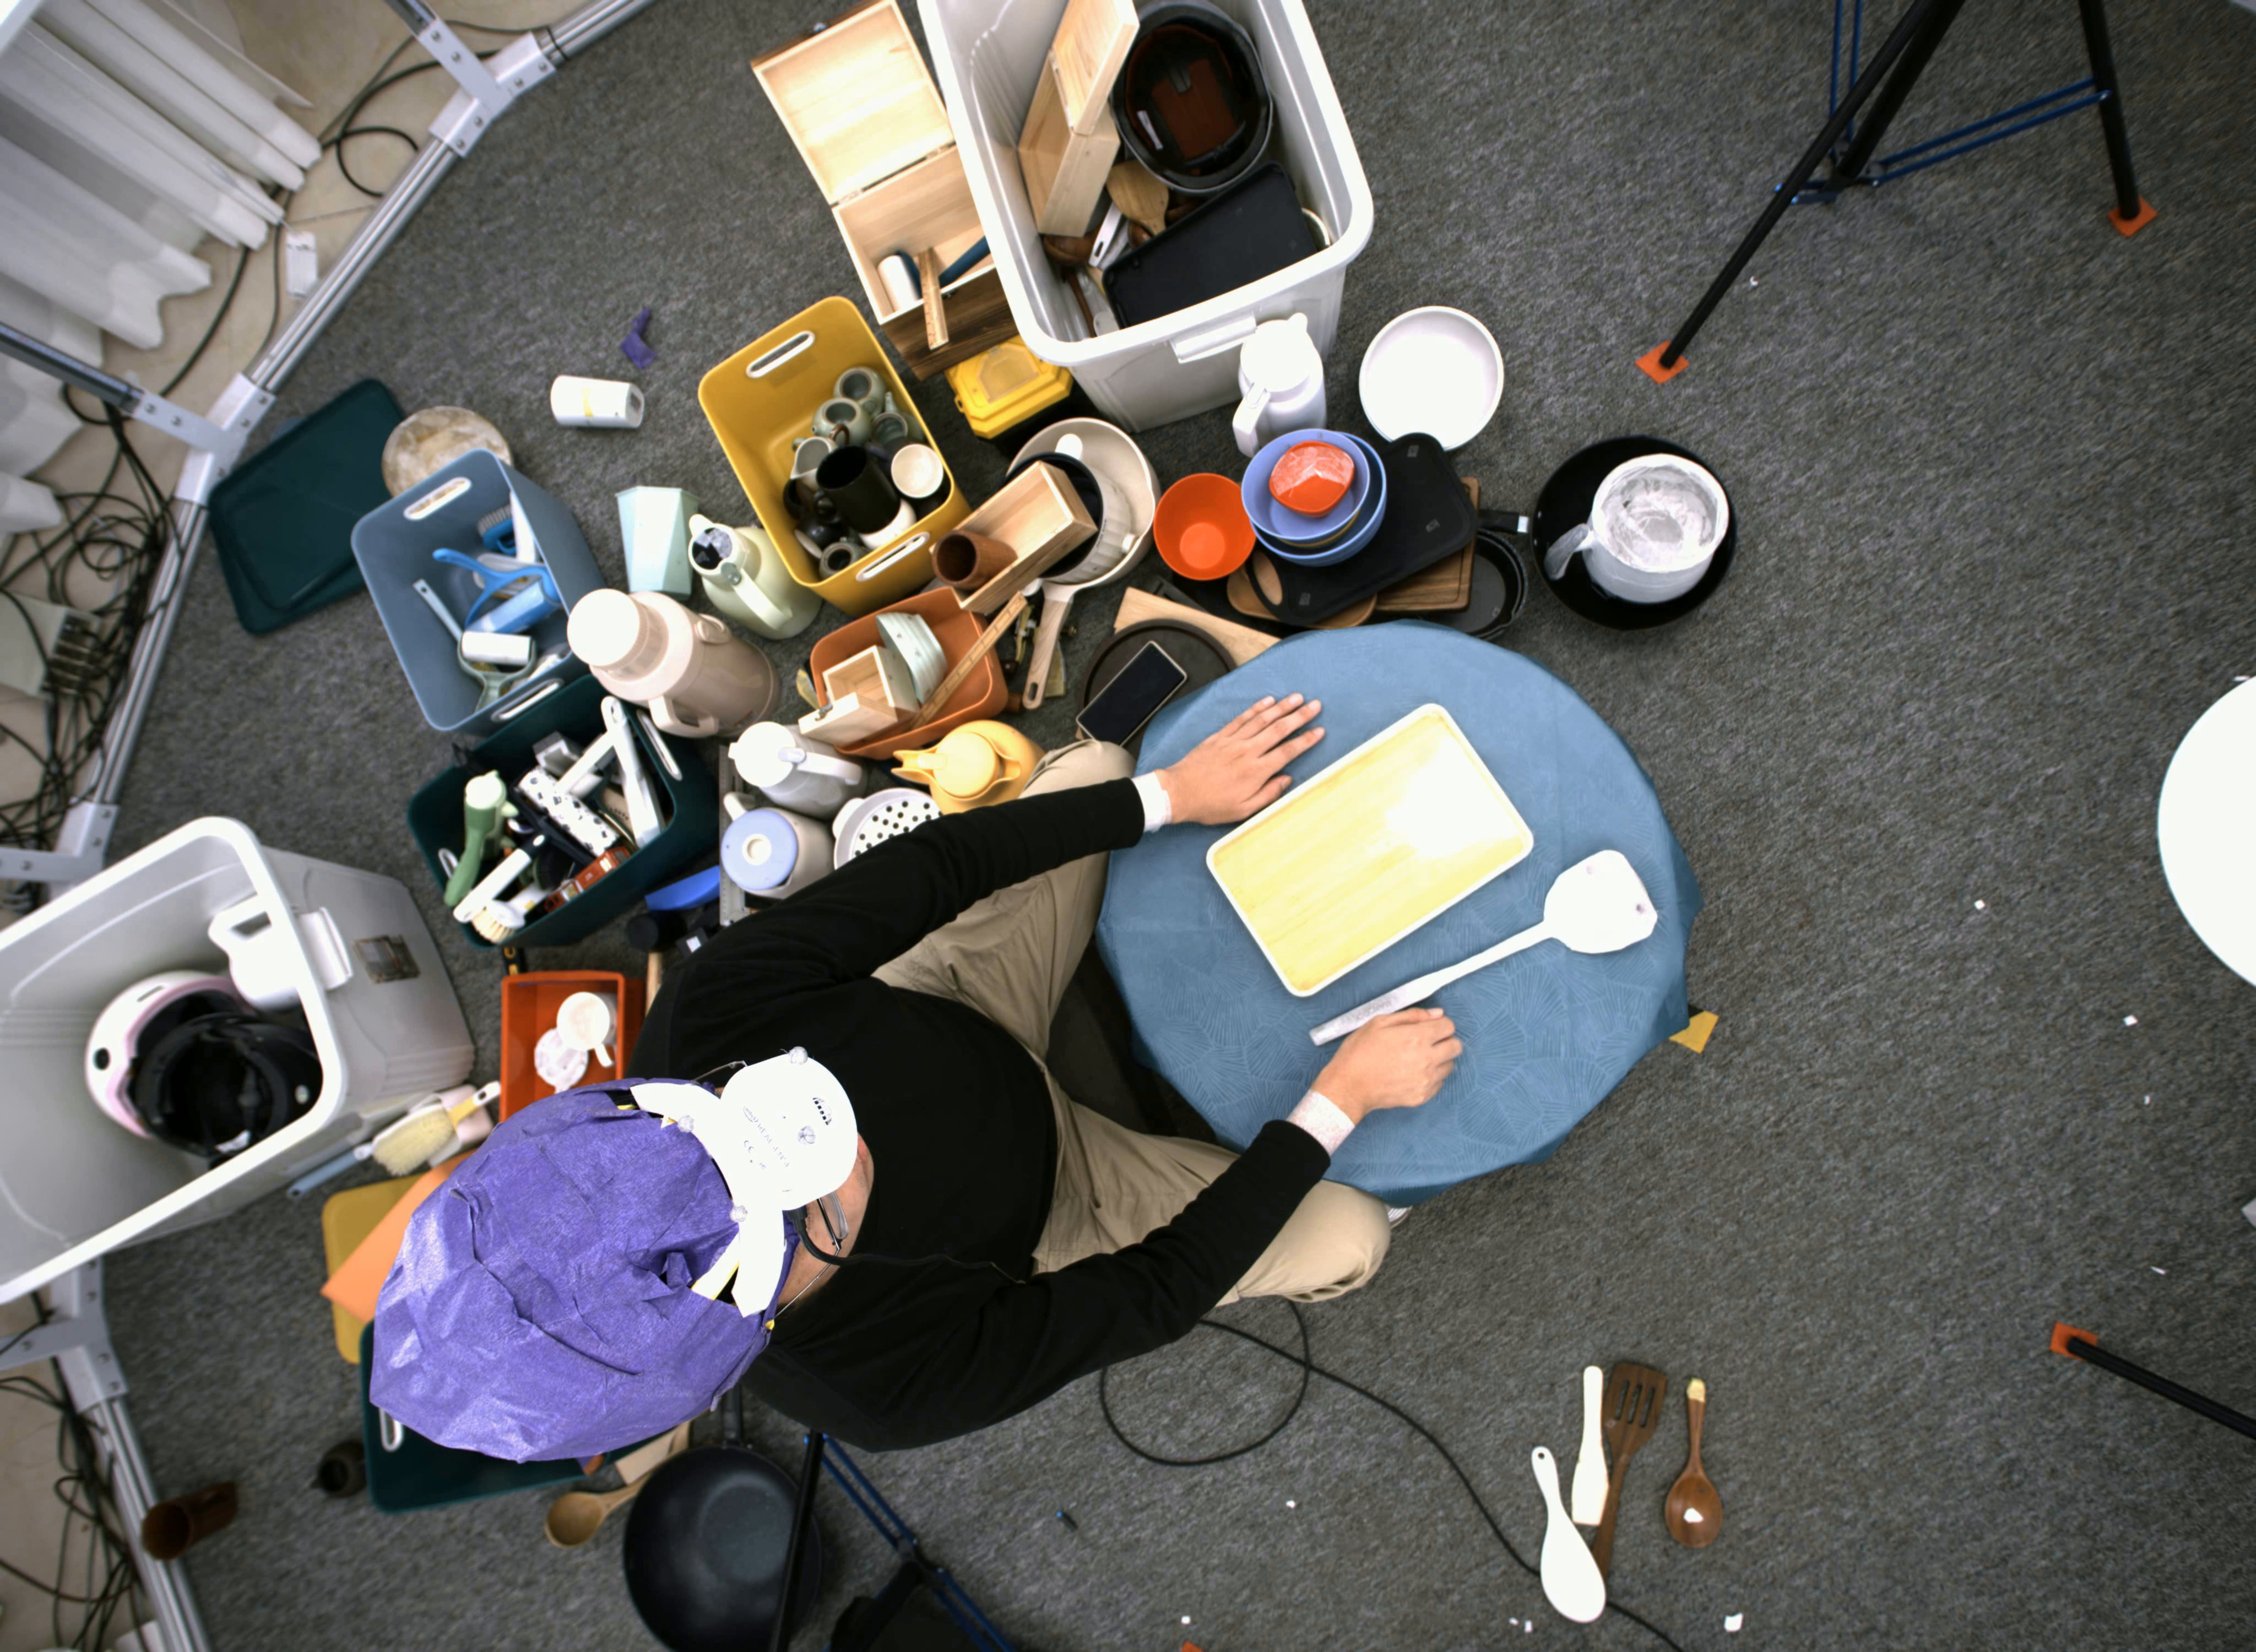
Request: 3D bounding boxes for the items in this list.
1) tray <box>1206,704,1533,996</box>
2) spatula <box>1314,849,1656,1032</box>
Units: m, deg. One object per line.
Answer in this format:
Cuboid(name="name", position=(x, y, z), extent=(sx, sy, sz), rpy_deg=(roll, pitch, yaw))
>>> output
Cuboid(name="tray", position=(0.252, 0.024, 1.452), extent=(0.302, 0.027, 0.190), rpy_deg=(-33, 82, 7))
Cuboid(name="spatula", position=(0.361, 0.136, 1.420), extent=(0.367, 0.045, 0.098), rpy_deg=(-26, 83, 8))
